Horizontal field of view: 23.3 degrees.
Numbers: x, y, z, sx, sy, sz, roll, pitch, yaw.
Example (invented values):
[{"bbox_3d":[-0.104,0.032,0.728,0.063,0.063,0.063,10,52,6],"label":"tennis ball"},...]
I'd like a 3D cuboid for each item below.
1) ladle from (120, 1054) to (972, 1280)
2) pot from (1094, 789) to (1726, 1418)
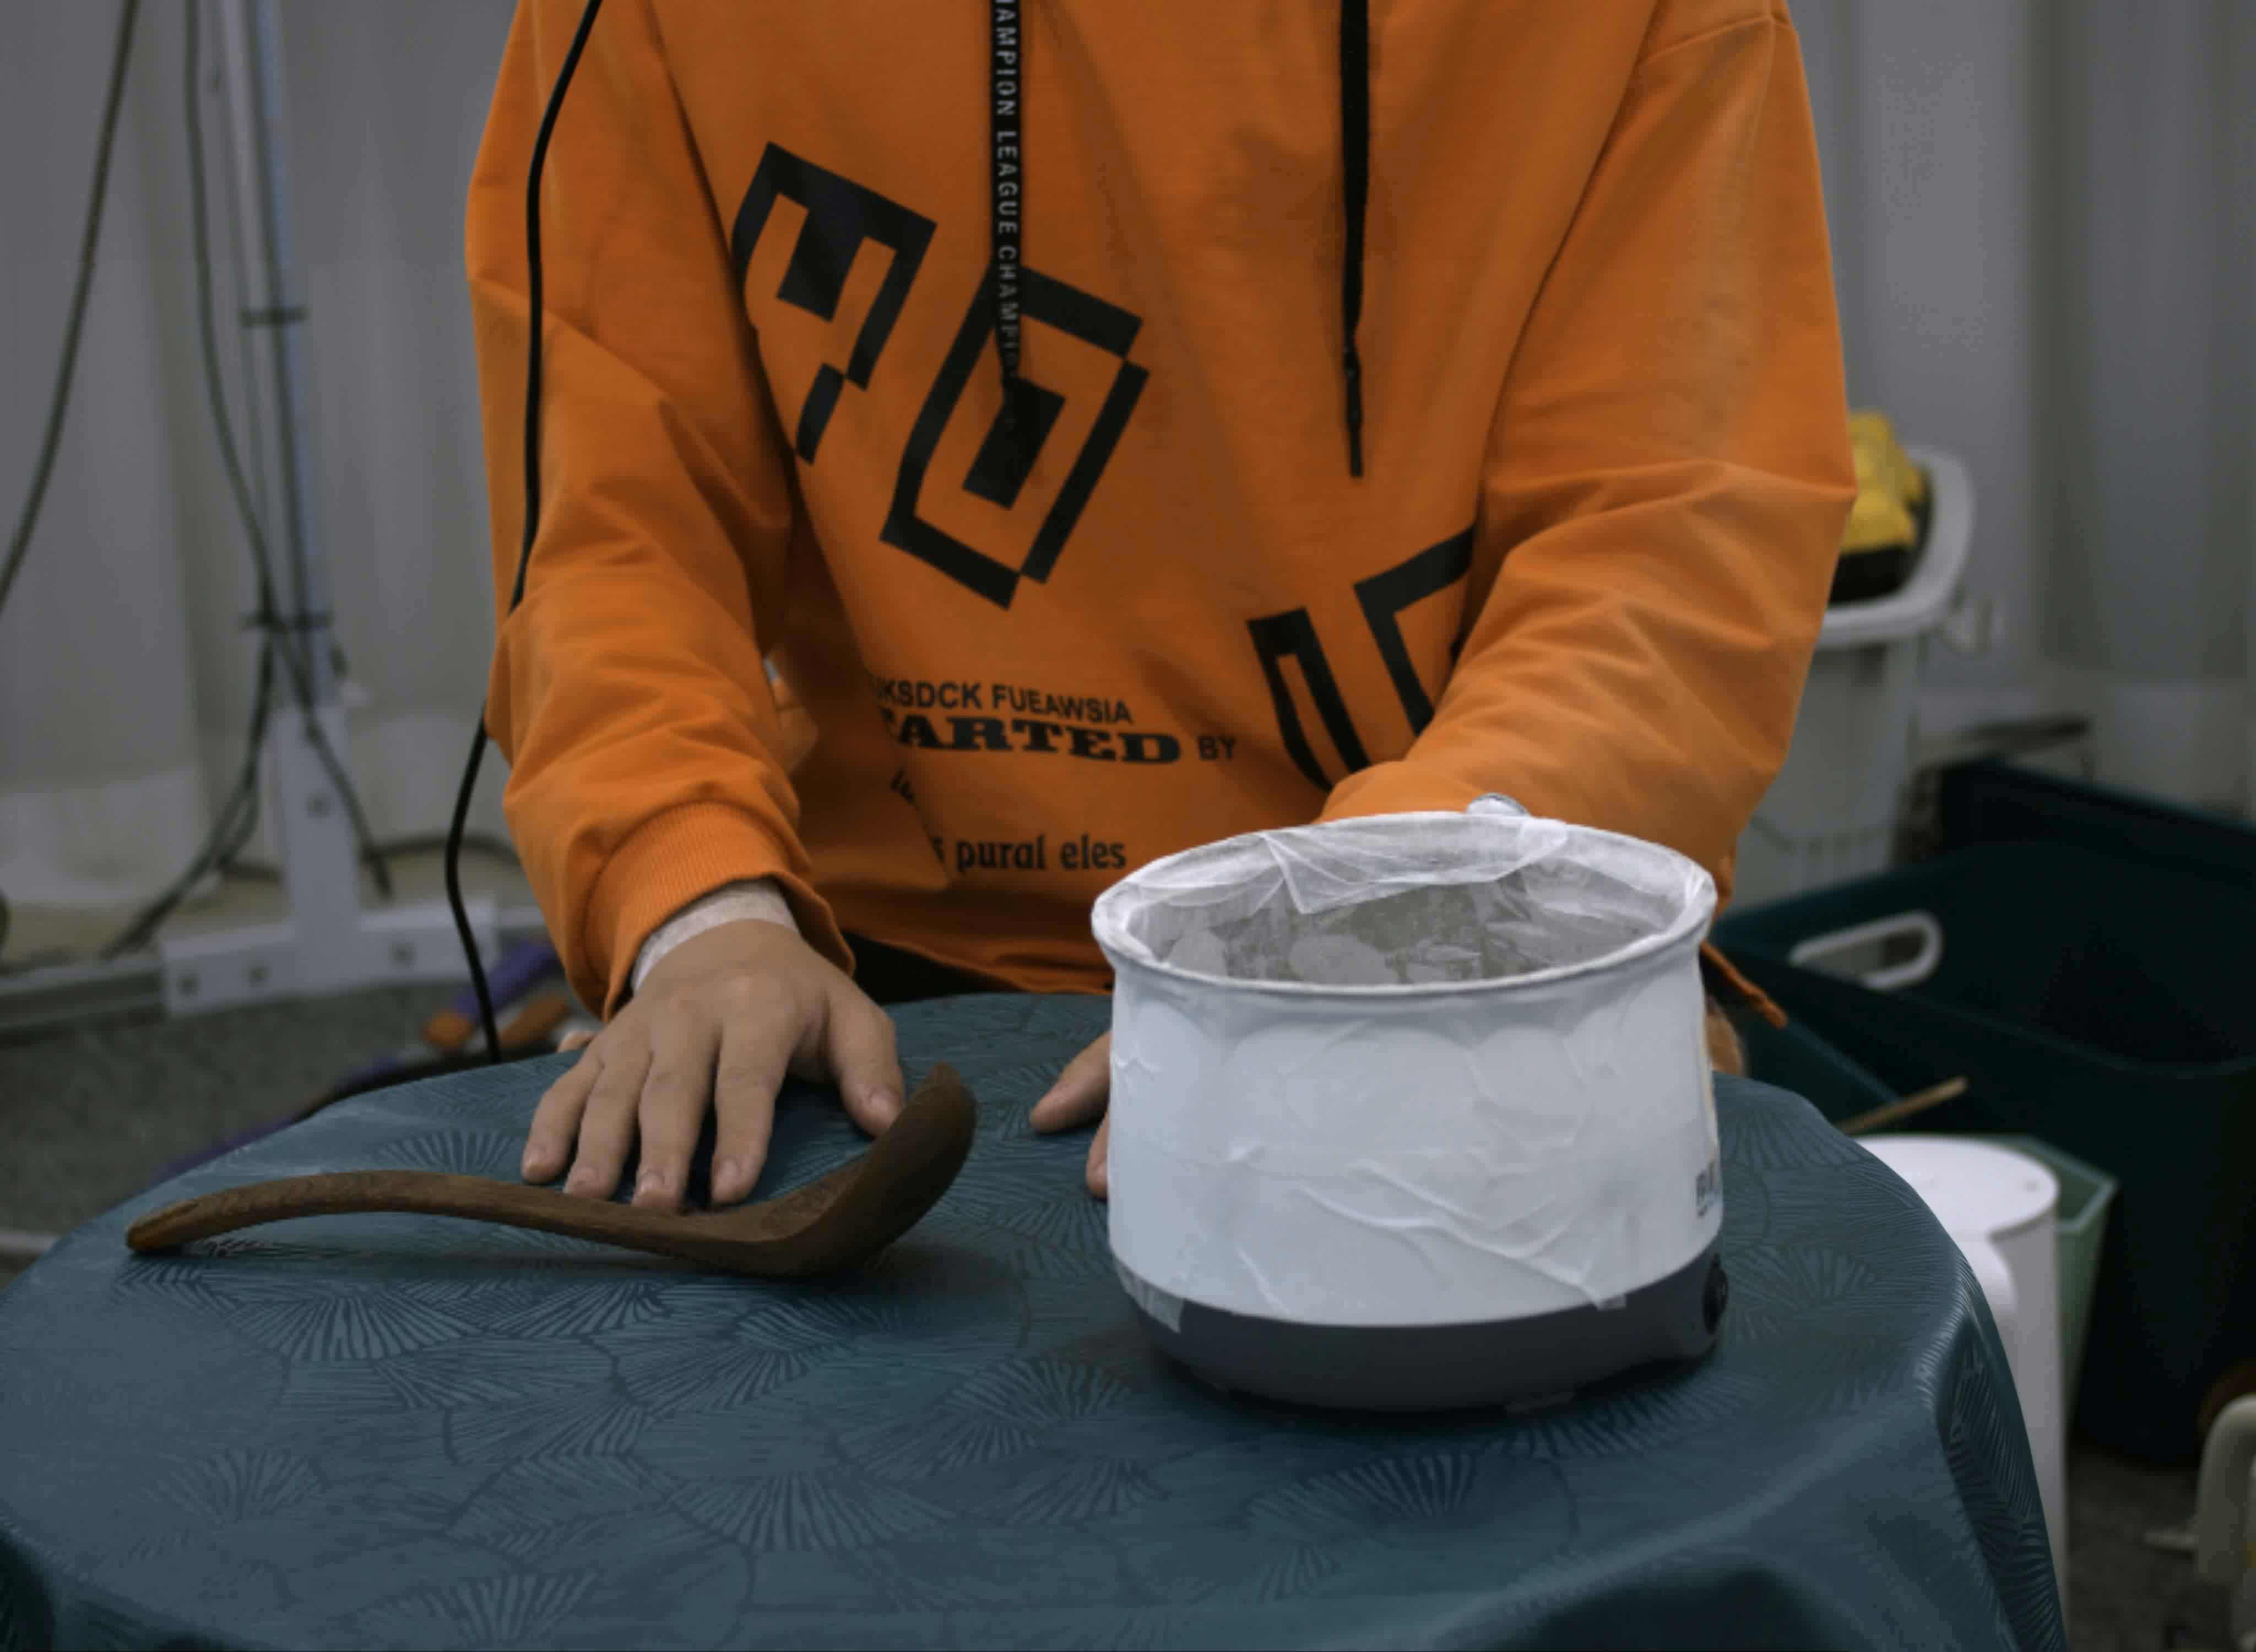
[{"bbox_3d":[-0.180,0.100,1.671,0.274,0.071,0.076,2,12,14],"label":"ladle"},{"bbox_3d":[0.089,0.074,1.584,0.178,0.136,0.234,2,16,17],"label":"pot"}]
